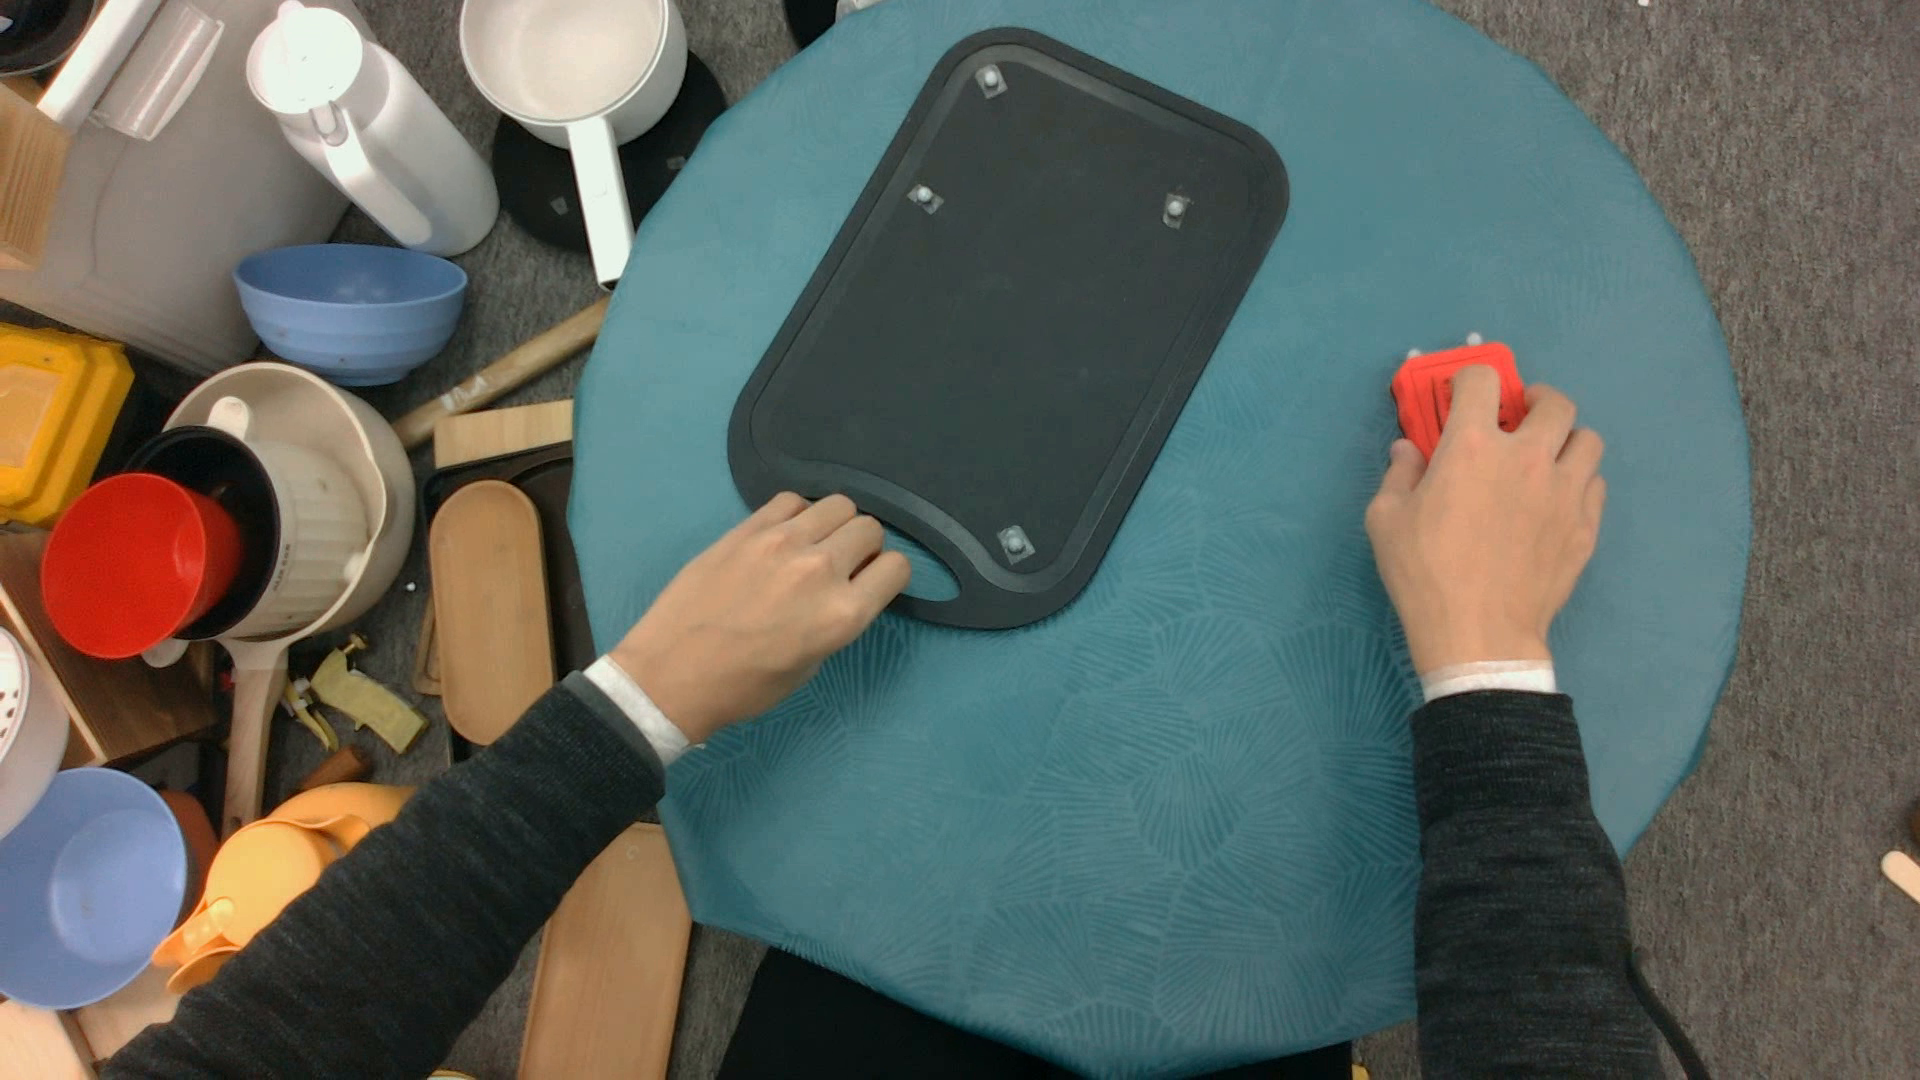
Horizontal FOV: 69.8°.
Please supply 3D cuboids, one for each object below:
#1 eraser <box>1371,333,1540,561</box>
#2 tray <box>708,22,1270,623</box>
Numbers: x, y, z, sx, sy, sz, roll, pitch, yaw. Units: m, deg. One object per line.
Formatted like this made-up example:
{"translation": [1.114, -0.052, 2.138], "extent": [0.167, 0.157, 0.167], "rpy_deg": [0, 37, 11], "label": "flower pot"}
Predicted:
{"translation": [0.246, -0.047, 0.687], "extent": [0.059, 0.023, 0.108], "rpy_deg": [-11, 76, 1], "label": "eraser"}
{"translation": [0.013, -0.117, 0.723], "extent": [0.211, 0.010, 0.326], "rpy_deg": [28, 79, 9], "label": "tray"}
